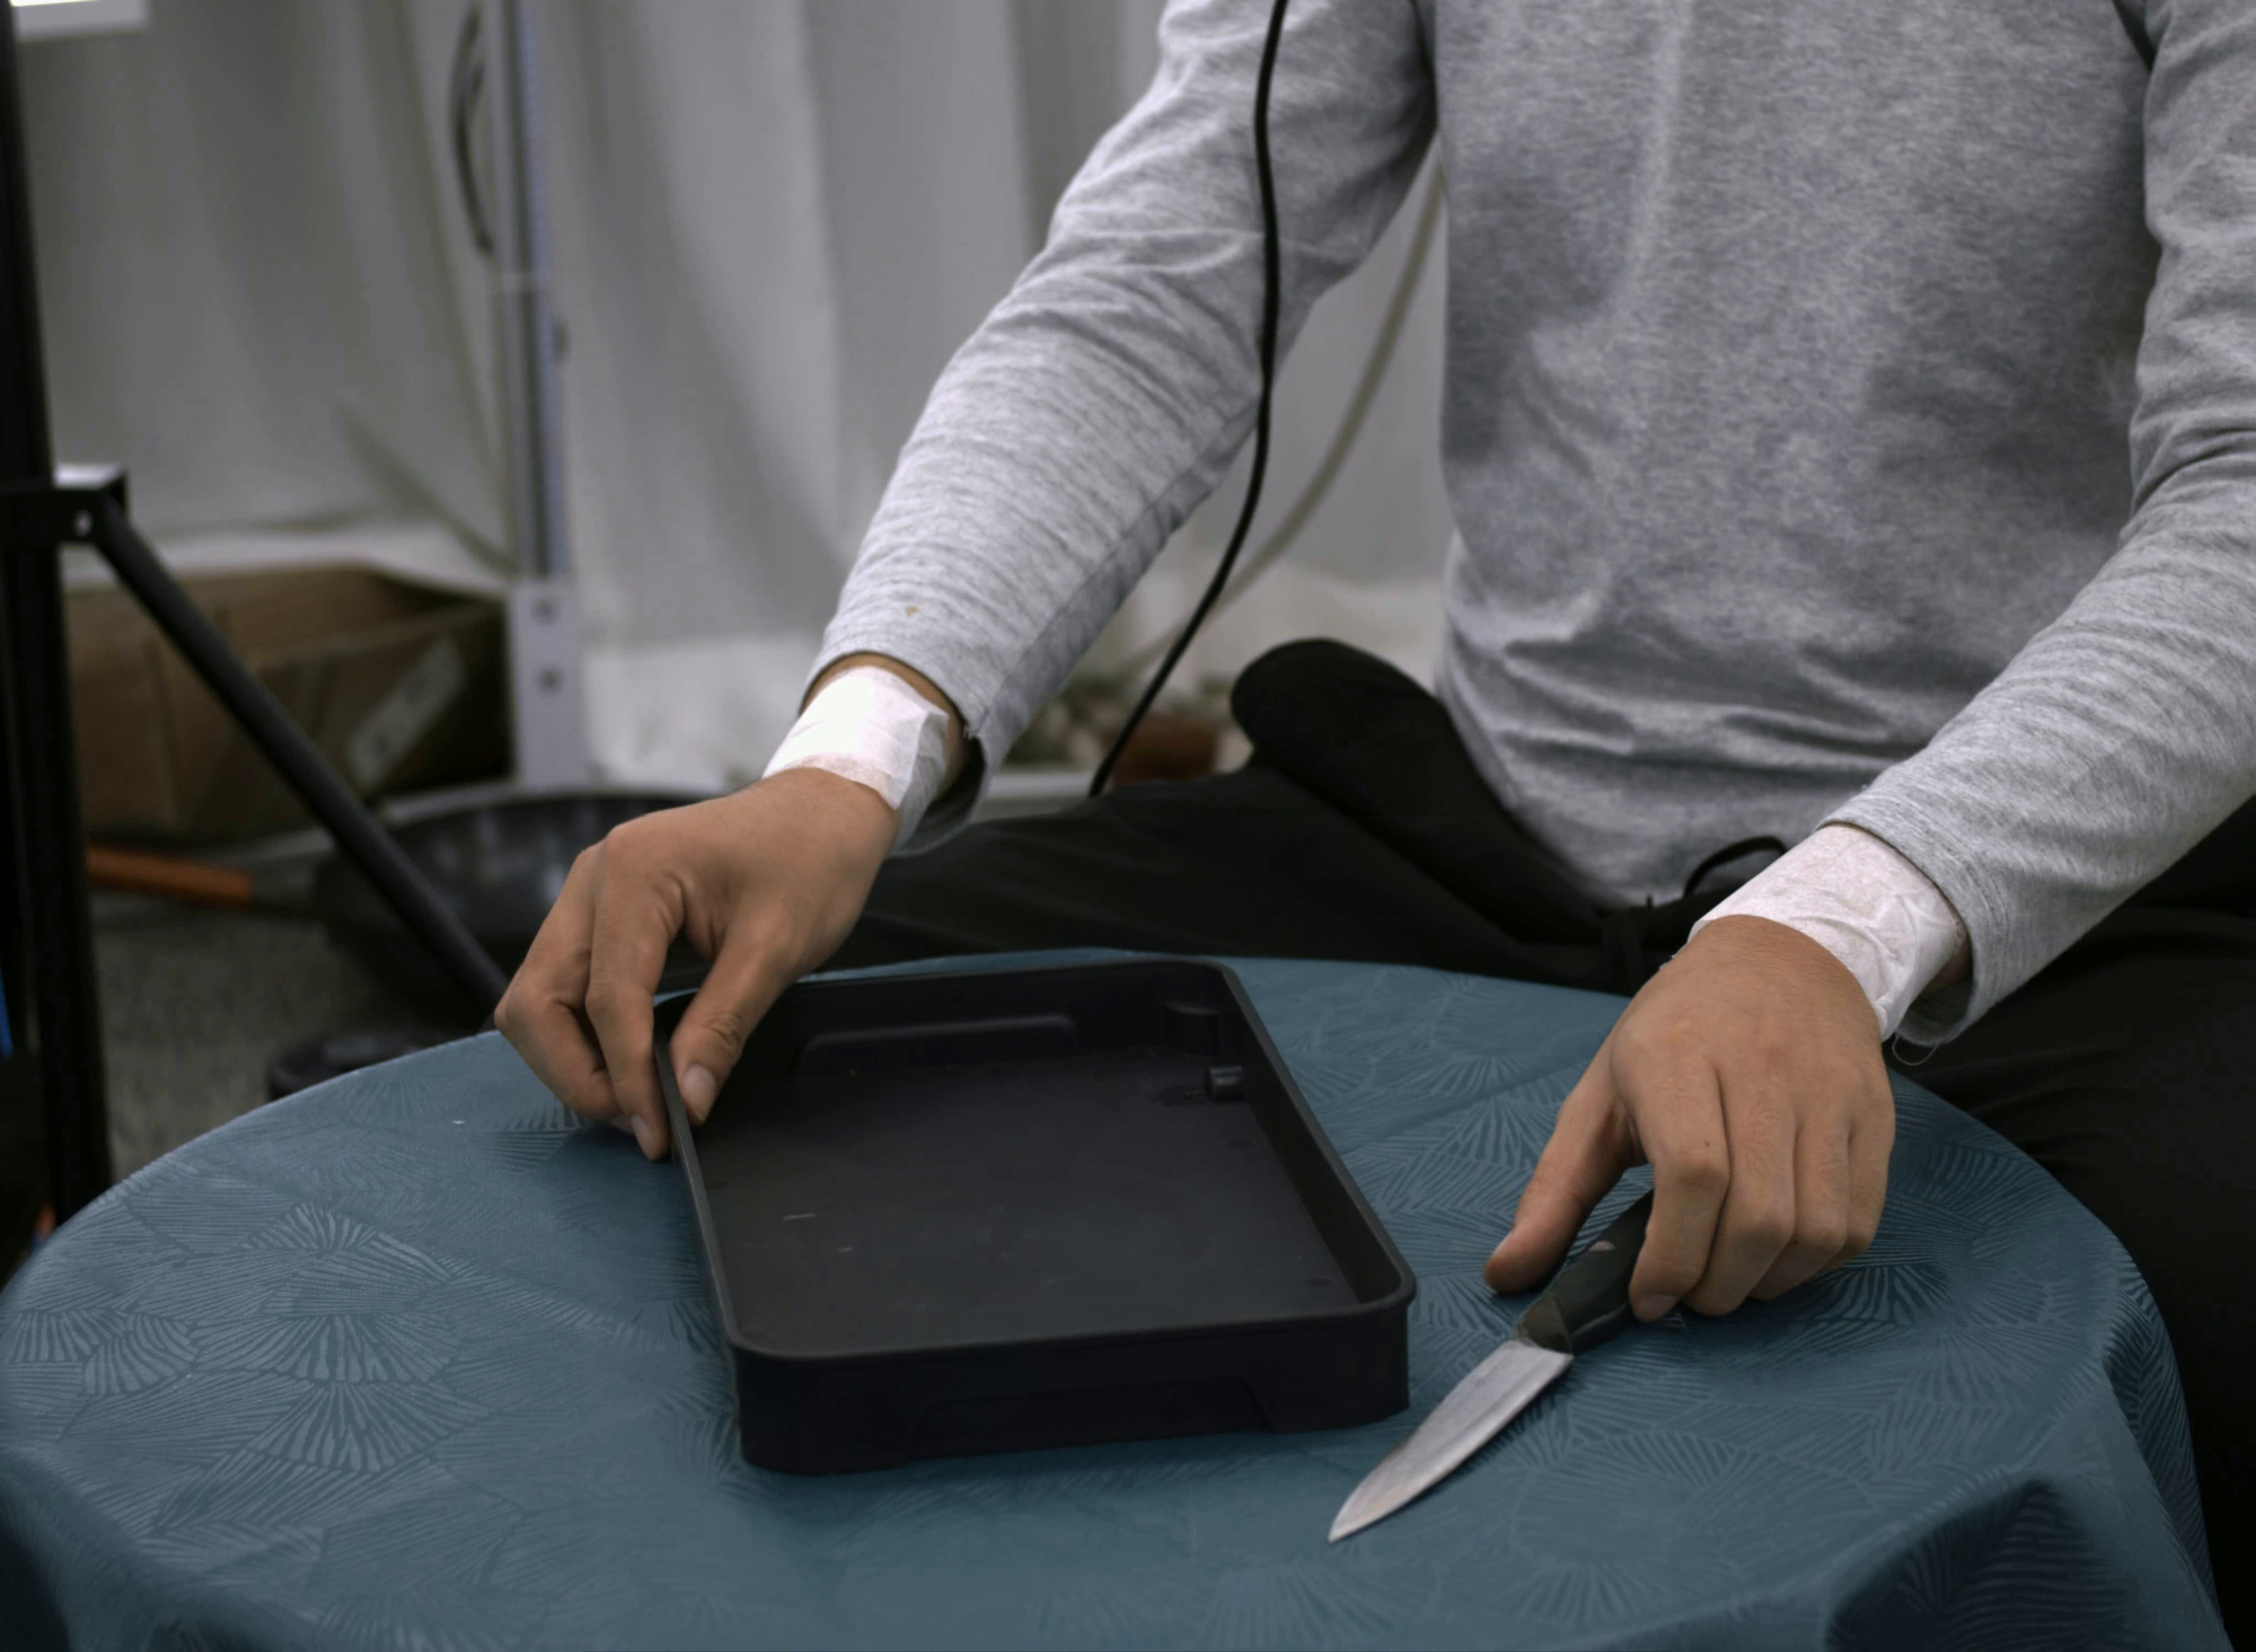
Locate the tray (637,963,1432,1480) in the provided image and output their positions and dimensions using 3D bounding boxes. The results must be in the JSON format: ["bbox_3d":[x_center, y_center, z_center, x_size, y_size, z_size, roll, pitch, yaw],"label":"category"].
[{"bbox_3d":[-0.034,0.106,1.510,0.182,0.037,0.321,-4,15,-9],"label":"tray"}]

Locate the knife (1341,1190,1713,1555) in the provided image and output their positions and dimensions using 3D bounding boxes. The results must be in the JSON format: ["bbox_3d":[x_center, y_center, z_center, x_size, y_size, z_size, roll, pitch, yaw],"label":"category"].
[{"bbox_3d":[0.105,0.143,1.400,0.025,0.016,0.234,8,21,26],"label":"knife"}]
